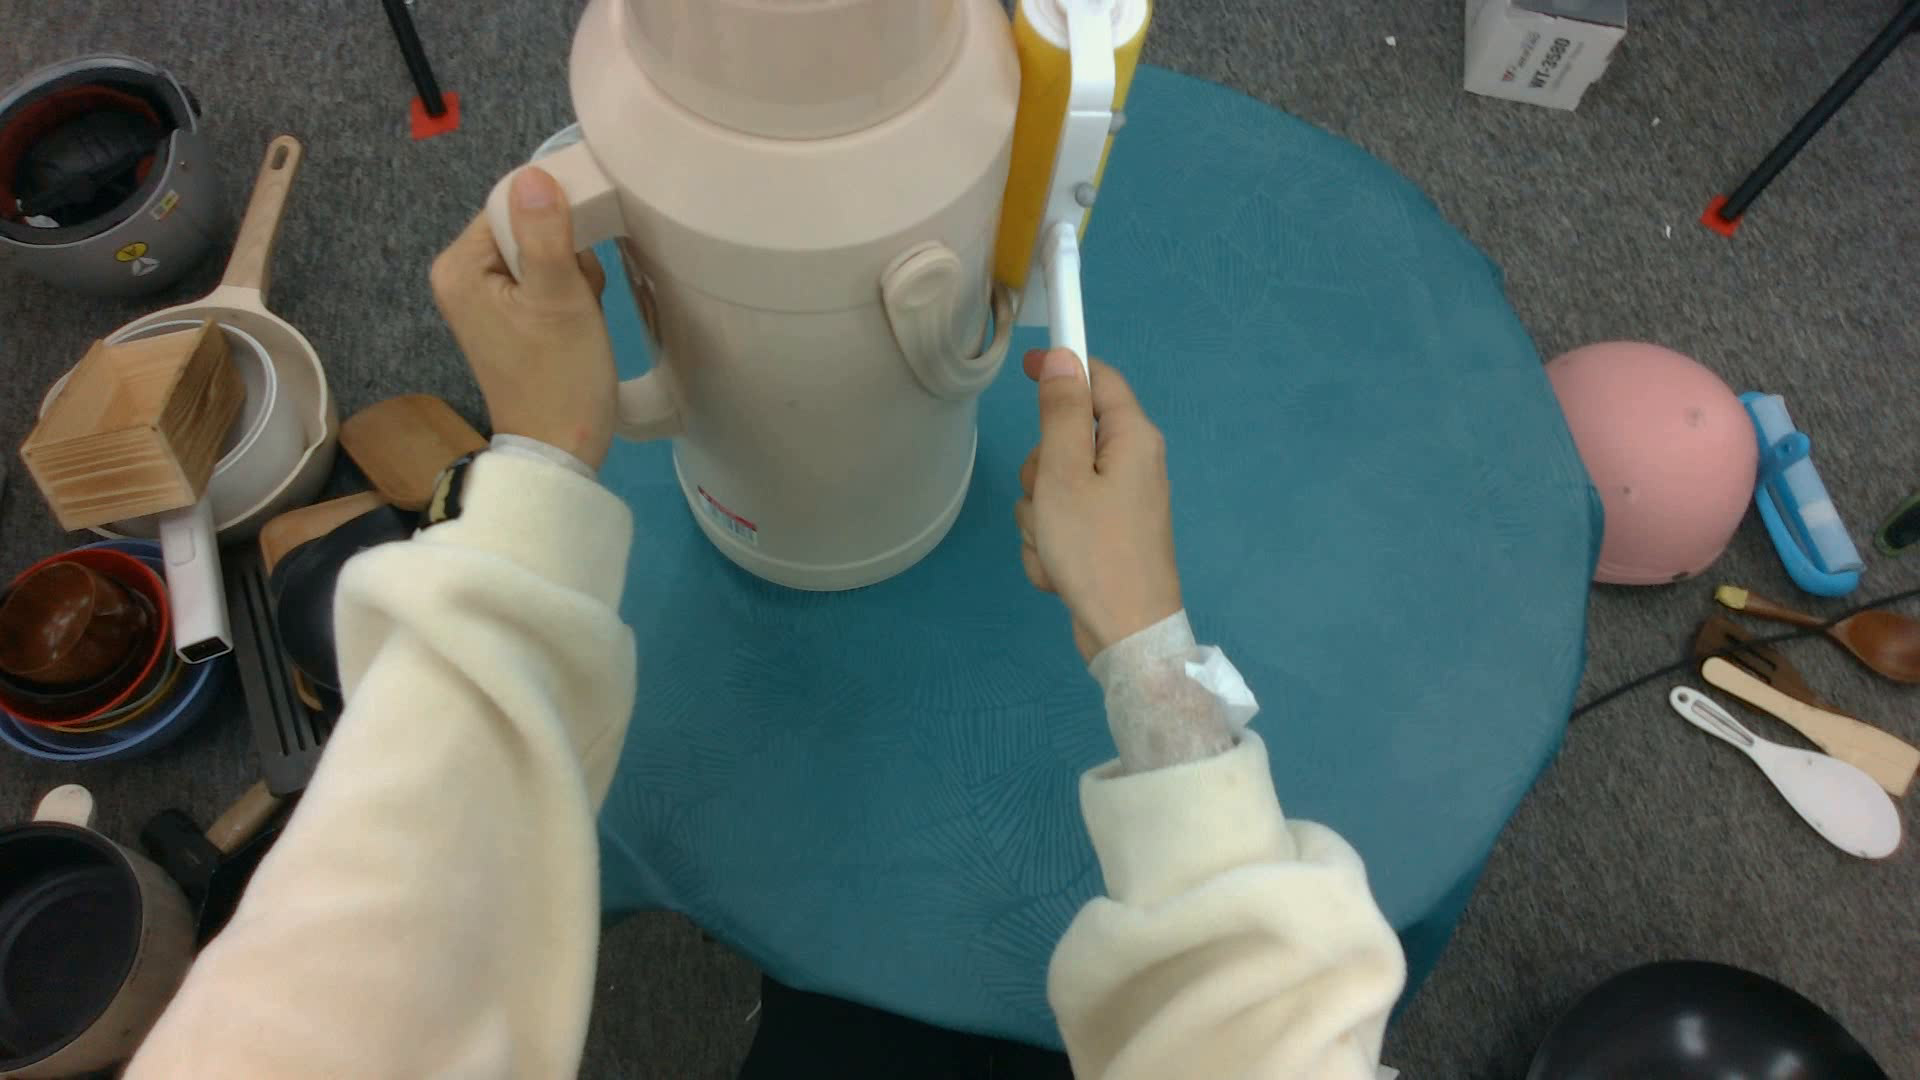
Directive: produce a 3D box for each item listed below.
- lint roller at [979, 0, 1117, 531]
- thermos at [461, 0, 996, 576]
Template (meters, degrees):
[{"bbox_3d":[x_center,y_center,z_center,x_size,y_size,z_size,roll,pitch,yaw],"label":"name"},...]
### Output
[{"bbox_3d":[0.044,-0.098,0.536,0.051,0.173,0.192,-15,75,-10],"label":"lint roller"},{"bbox_3d":[-0.083,-0.127,0.566,0.207,0.404,0.175,-29,72,-15],"label":"thermos"}]
